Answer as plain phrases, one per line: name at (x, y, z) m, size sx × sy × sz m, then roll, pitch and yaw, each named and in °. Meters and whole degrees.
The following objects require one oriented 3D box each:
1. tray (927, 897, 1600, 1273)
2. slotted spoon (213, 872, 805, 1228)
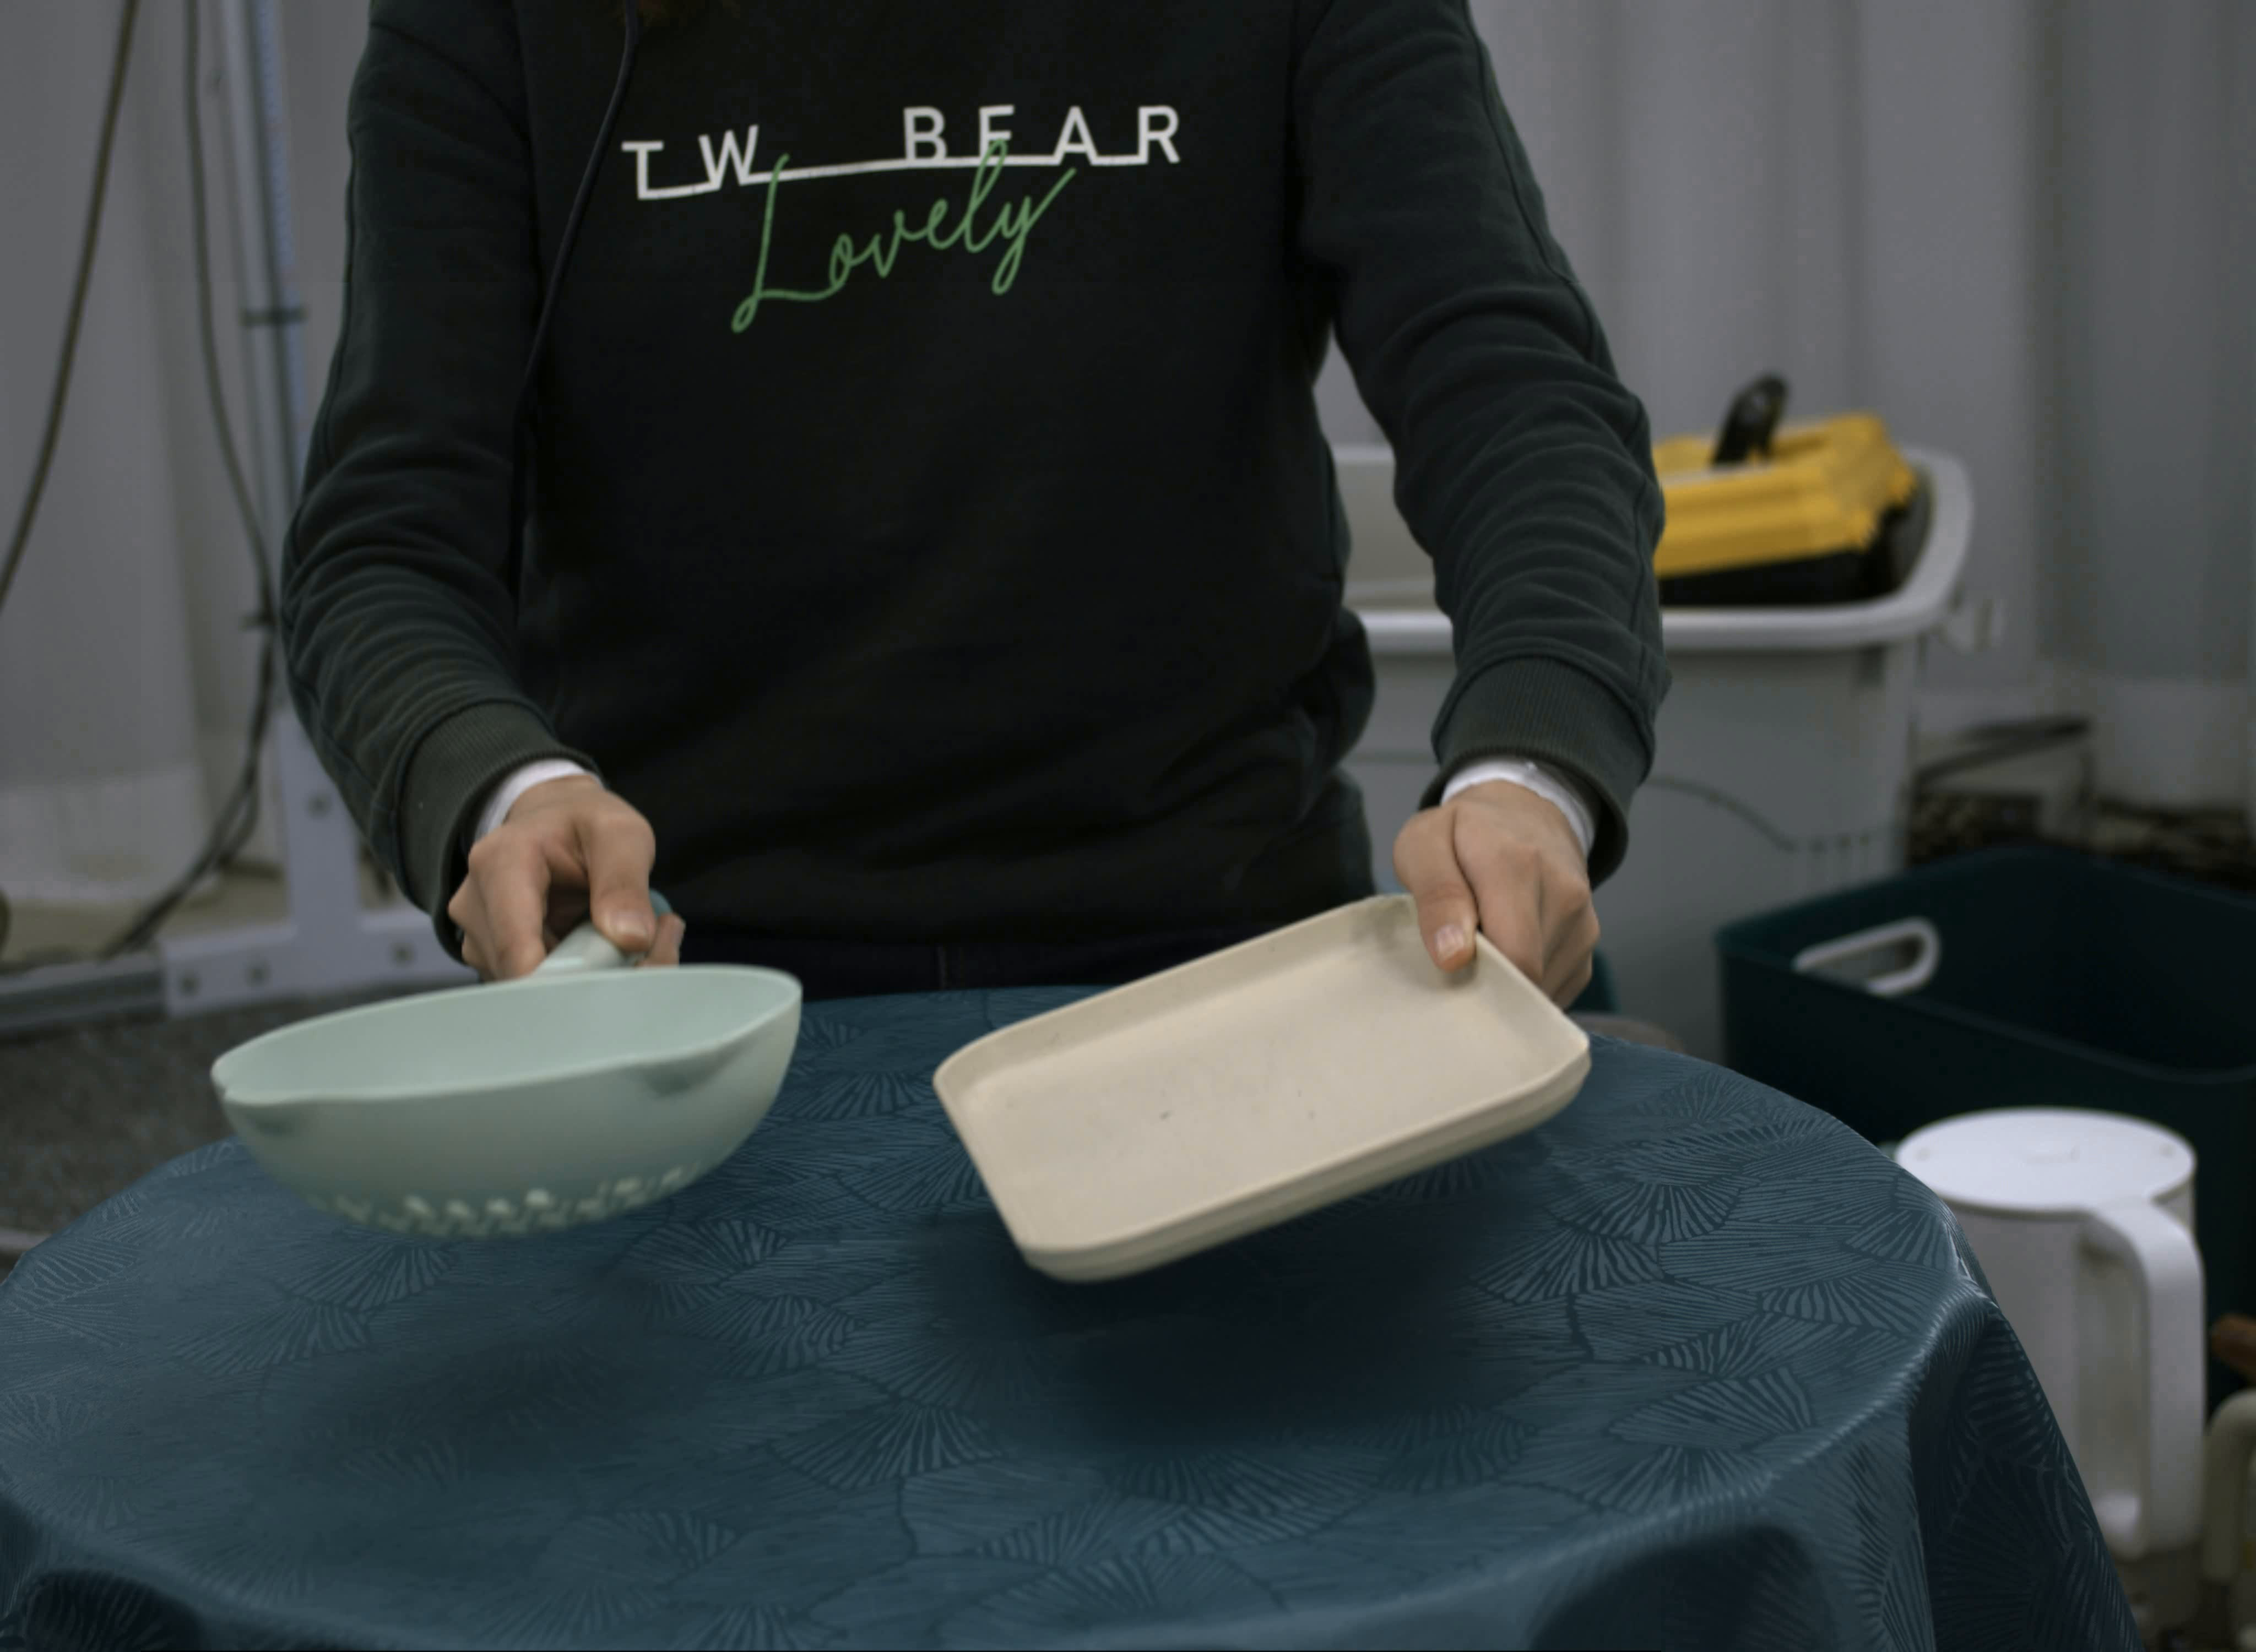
tray at (0.036, 0.074, 1.595) m, size 0.171 × 0.017 × 0.241 m, roll -20°, pitch 13°, yaw -6°
slotted spoon at (-0.169, 0.051, 1.648) m, size 0.169 × 0.075 × 0.361 m, roll -6°, pitch 16°, yaw 4°
